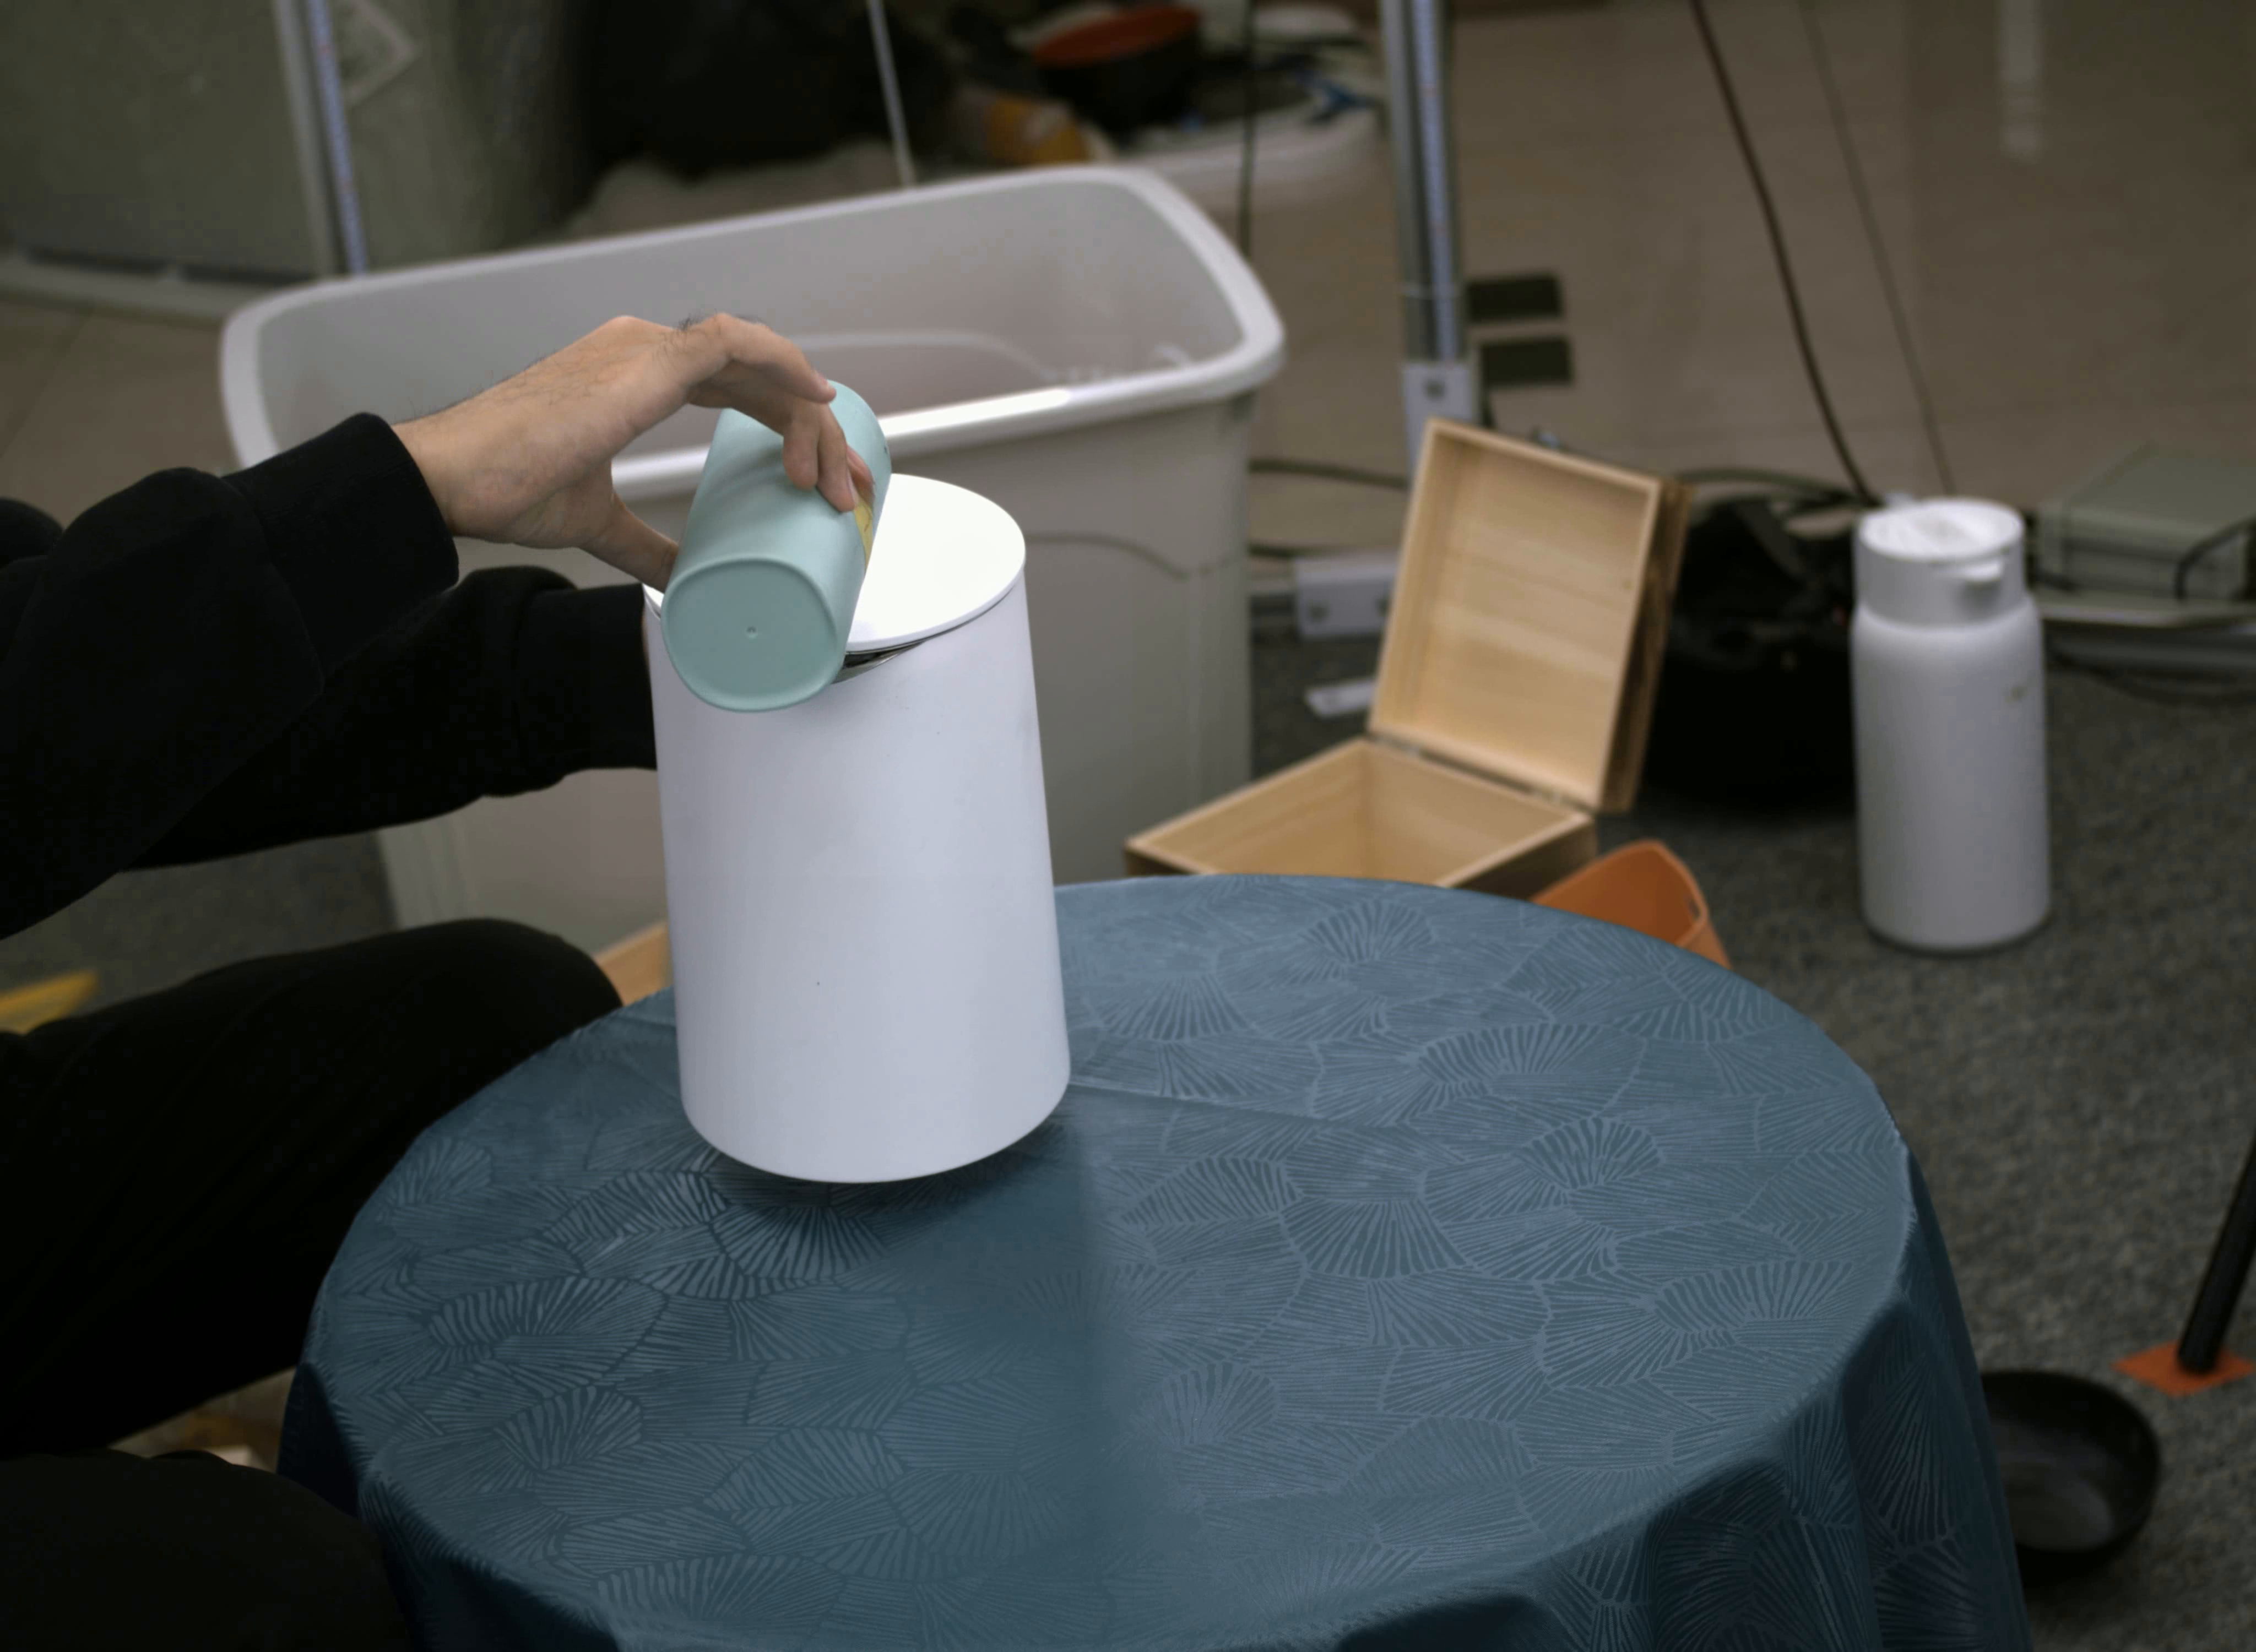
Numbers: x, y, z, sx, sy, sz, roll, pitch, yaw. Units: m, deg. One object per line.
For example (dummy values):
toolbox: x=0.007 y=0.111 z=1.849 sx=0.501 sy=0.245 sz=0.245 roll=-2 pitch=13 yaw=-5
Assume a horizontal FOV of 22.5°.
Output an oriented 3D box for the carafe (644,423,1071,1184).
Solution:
carafe: x=-0.101 y=-0.015 z=2.168 sx=0.152 sy=0.244 sz=0.209 roll=-1 pitch=32 yaw=2

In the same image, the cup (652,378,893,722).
cup: x=-0.124 y=-0.097 z=1.960 sx=0.066 sy=0.068 sz=0.130 roll=-2 pitch=34 yaw=9
